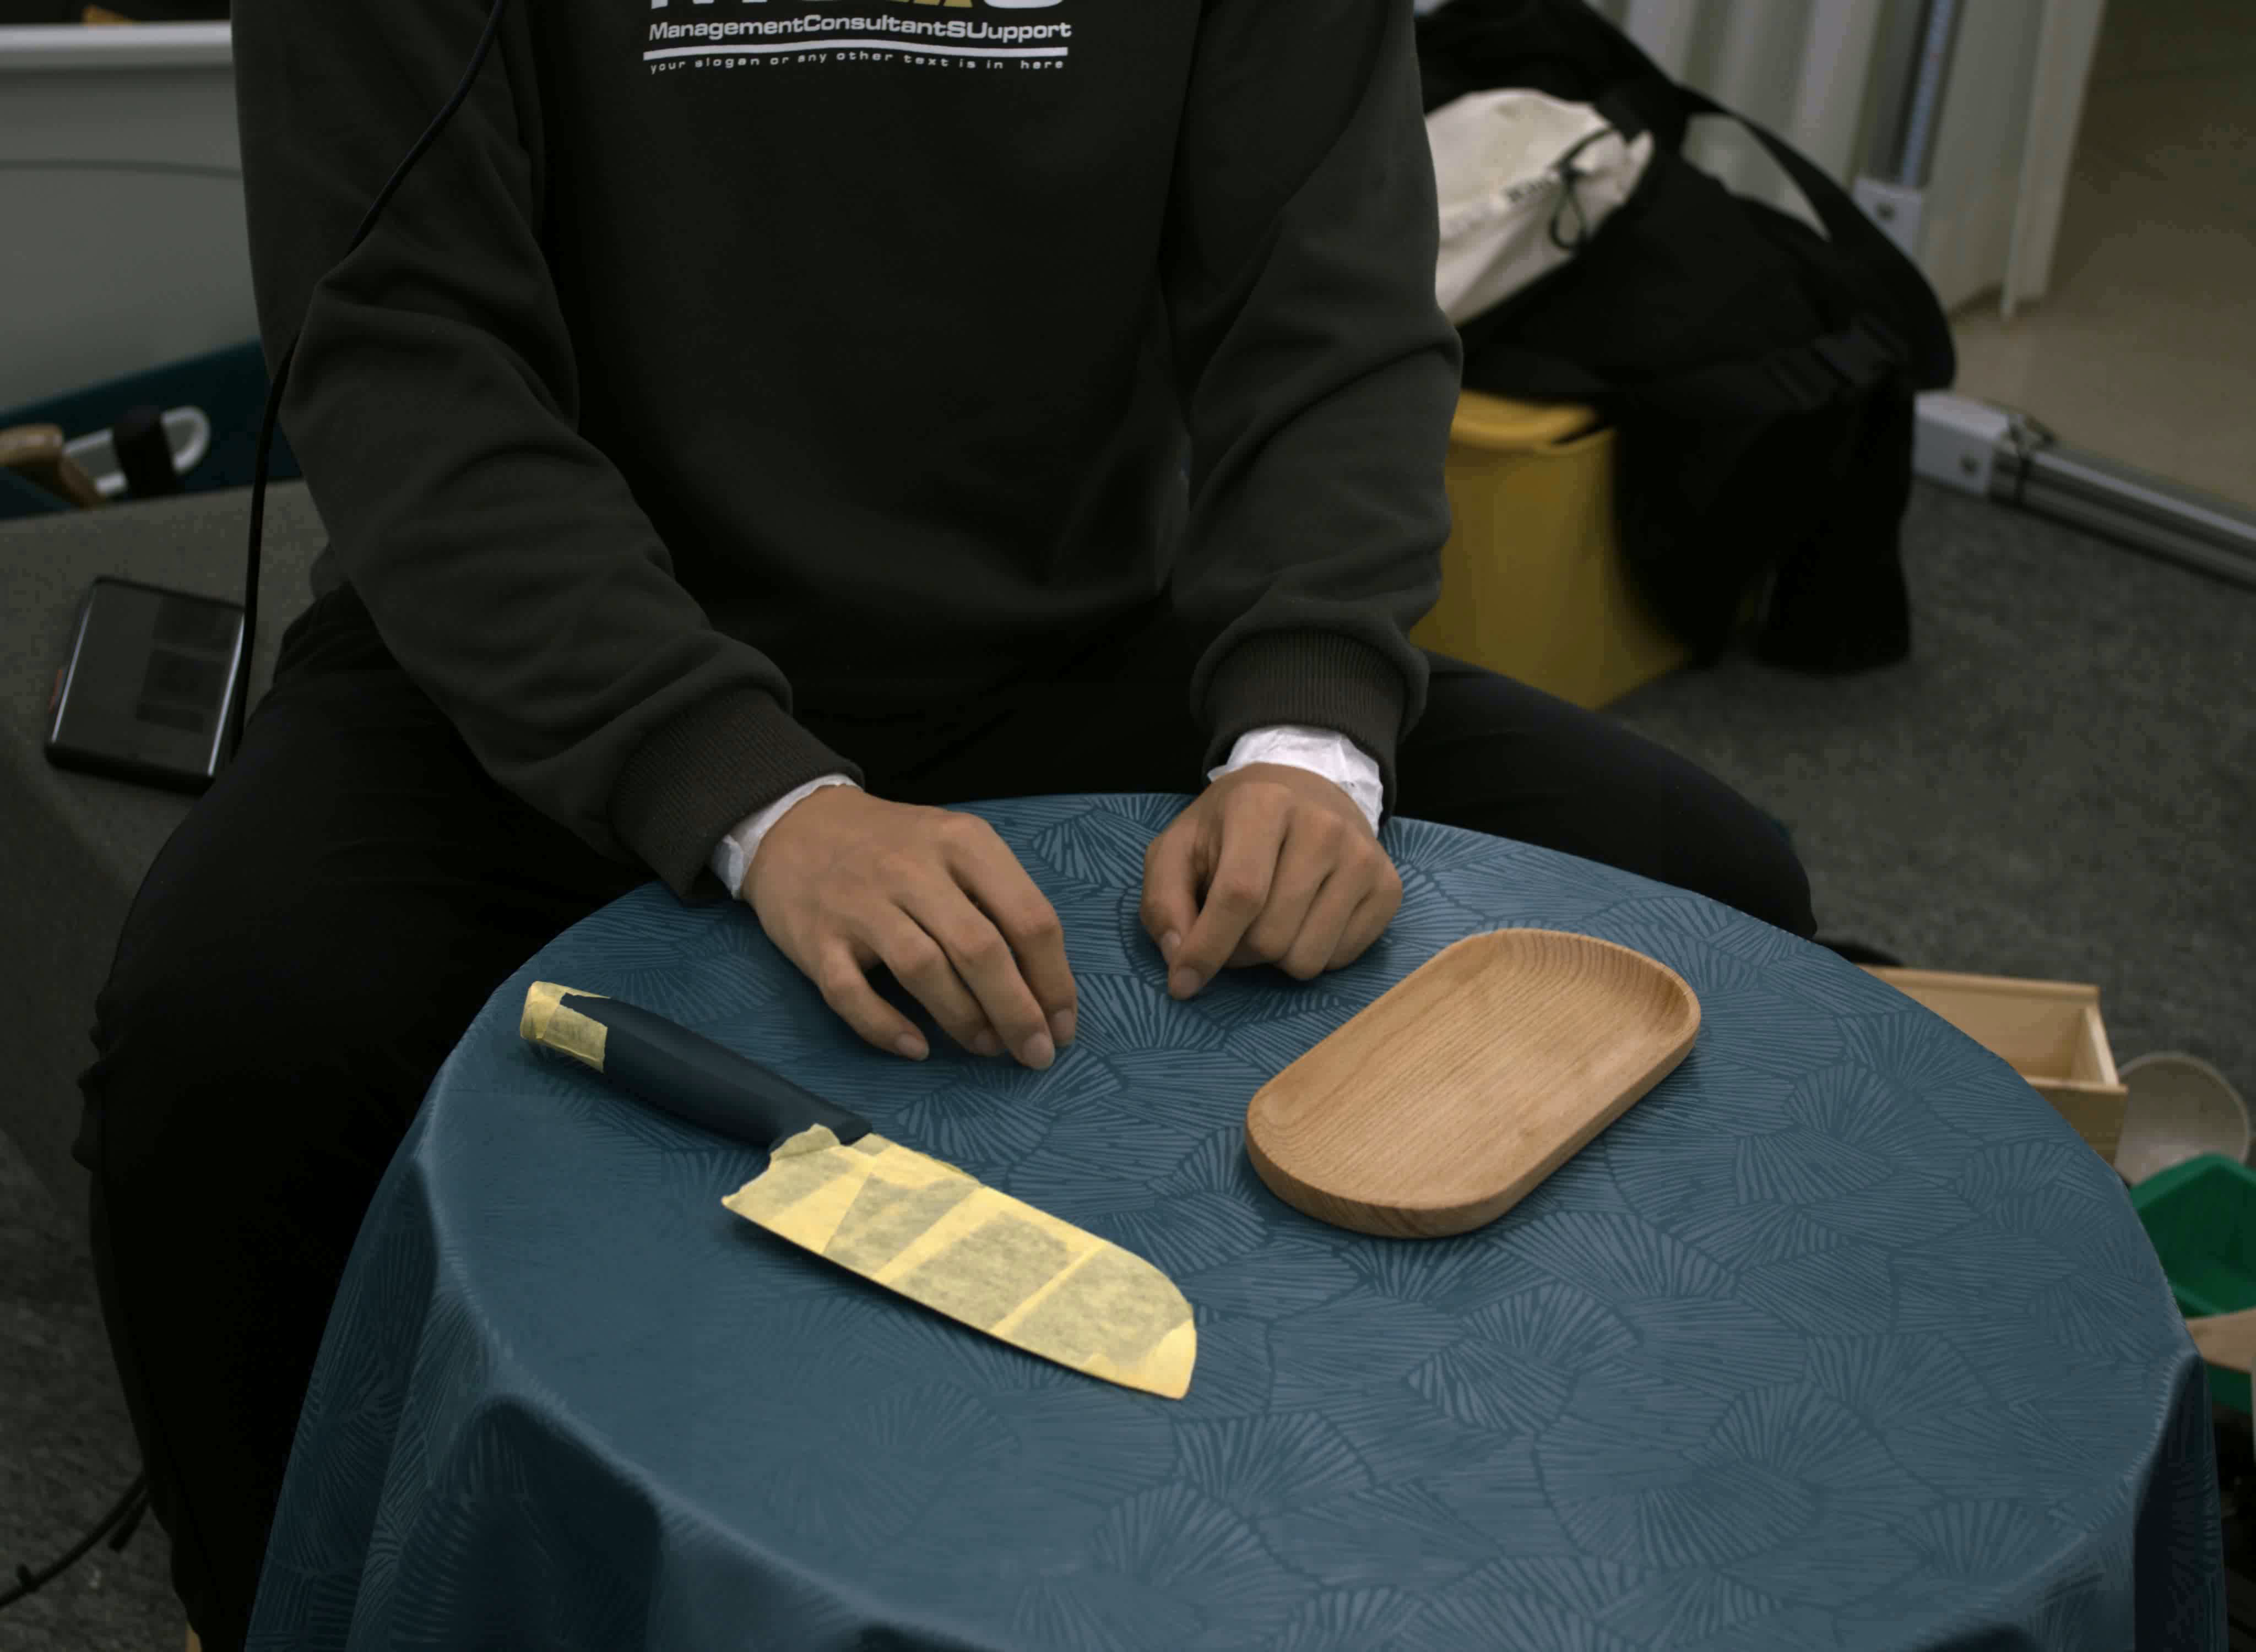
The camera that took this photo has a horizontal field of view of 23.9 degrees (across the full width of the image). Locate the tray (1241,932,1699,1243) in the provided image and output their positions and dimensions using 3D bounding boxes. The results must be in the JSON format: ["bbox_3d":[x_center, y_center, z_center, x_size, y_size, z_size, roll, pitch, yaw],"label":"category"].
[{"bbox_3d":[0.123,0.091,1.880,0.102,0.020,0.231,19,30,26],"label":"tray"}]

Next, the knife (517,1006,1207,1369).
[{"bbox_3d":[-0.096,0.122,1.772,0.291,0.027,0.081,23,29,27],"label":"knife"}]
